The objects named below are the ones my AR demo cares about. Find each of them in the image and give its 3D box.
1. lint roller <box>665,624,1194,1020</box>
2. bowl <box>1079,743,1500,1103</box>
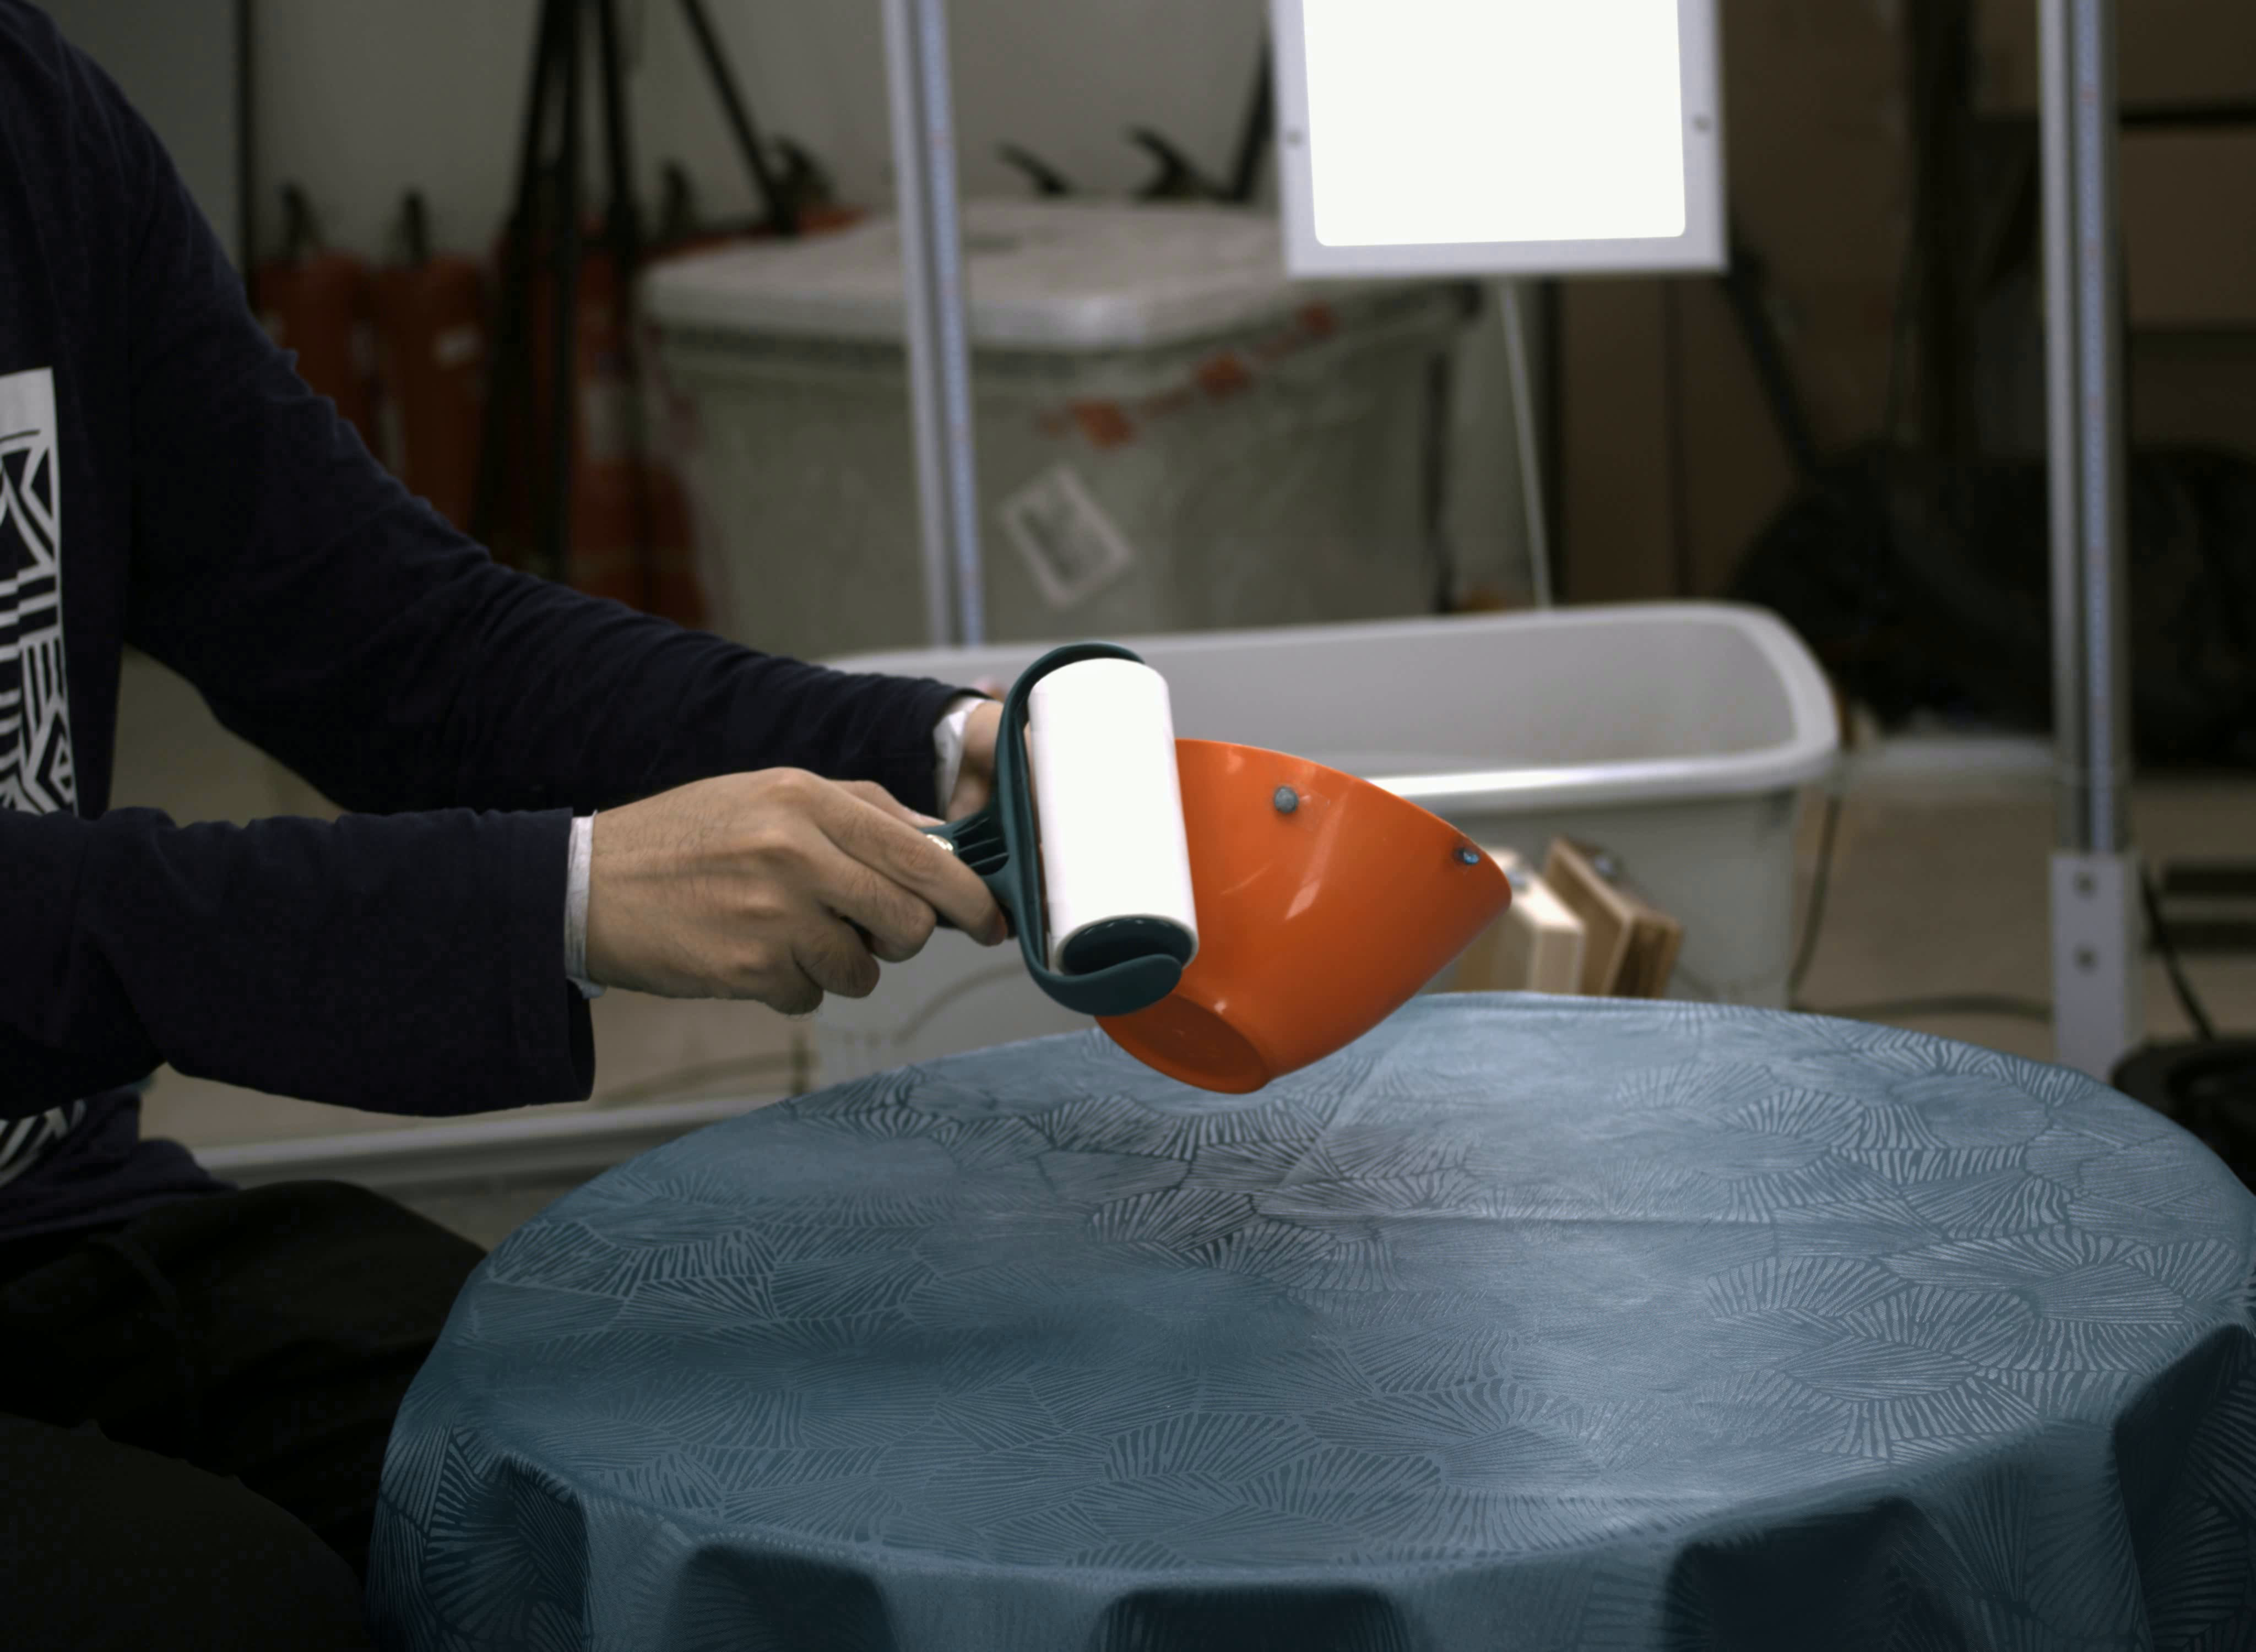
[{"bbox_3d":[-0.071,0.014,1.803,0.181,0.048,0.134,-12,57,9],"label":"lint roller"},{"bbox_3d":[0.041,0.039,1.863,0.151,0.146,0.103,6,58,36],"label":"bowl"}]
